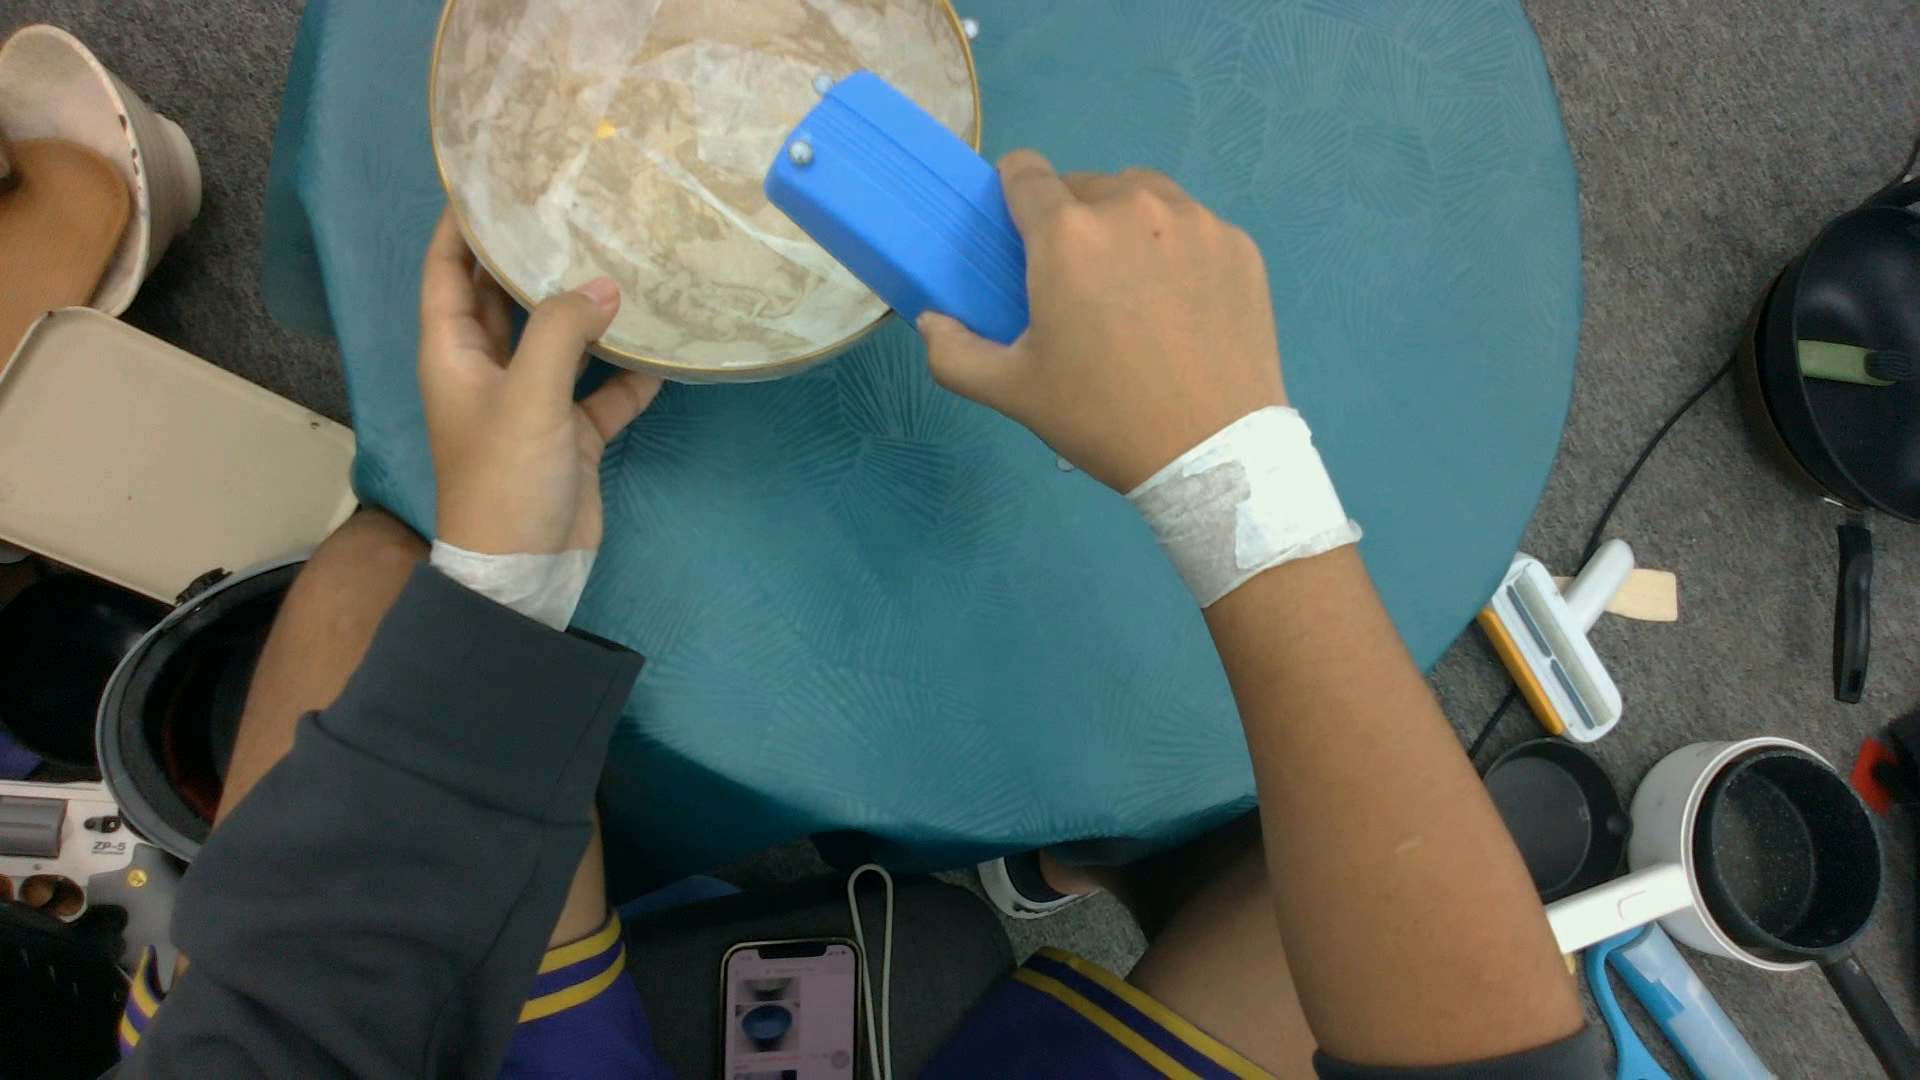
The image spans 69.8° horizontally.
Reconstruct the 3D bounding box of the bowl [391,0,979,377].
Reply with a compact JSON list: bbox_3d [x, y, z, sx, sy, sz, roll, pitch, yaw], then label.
[{"bbox_3d":[-0.105,-0.154,0.545,0.215,0.094,0.215,2,81,-12],"label":"bowl"}]

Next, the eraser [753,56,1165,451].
[{"bbox_3d":[0.003,-0.102,0.494,0.162,0.047,0.054,40,74,-10],"label":"eraser"}]
